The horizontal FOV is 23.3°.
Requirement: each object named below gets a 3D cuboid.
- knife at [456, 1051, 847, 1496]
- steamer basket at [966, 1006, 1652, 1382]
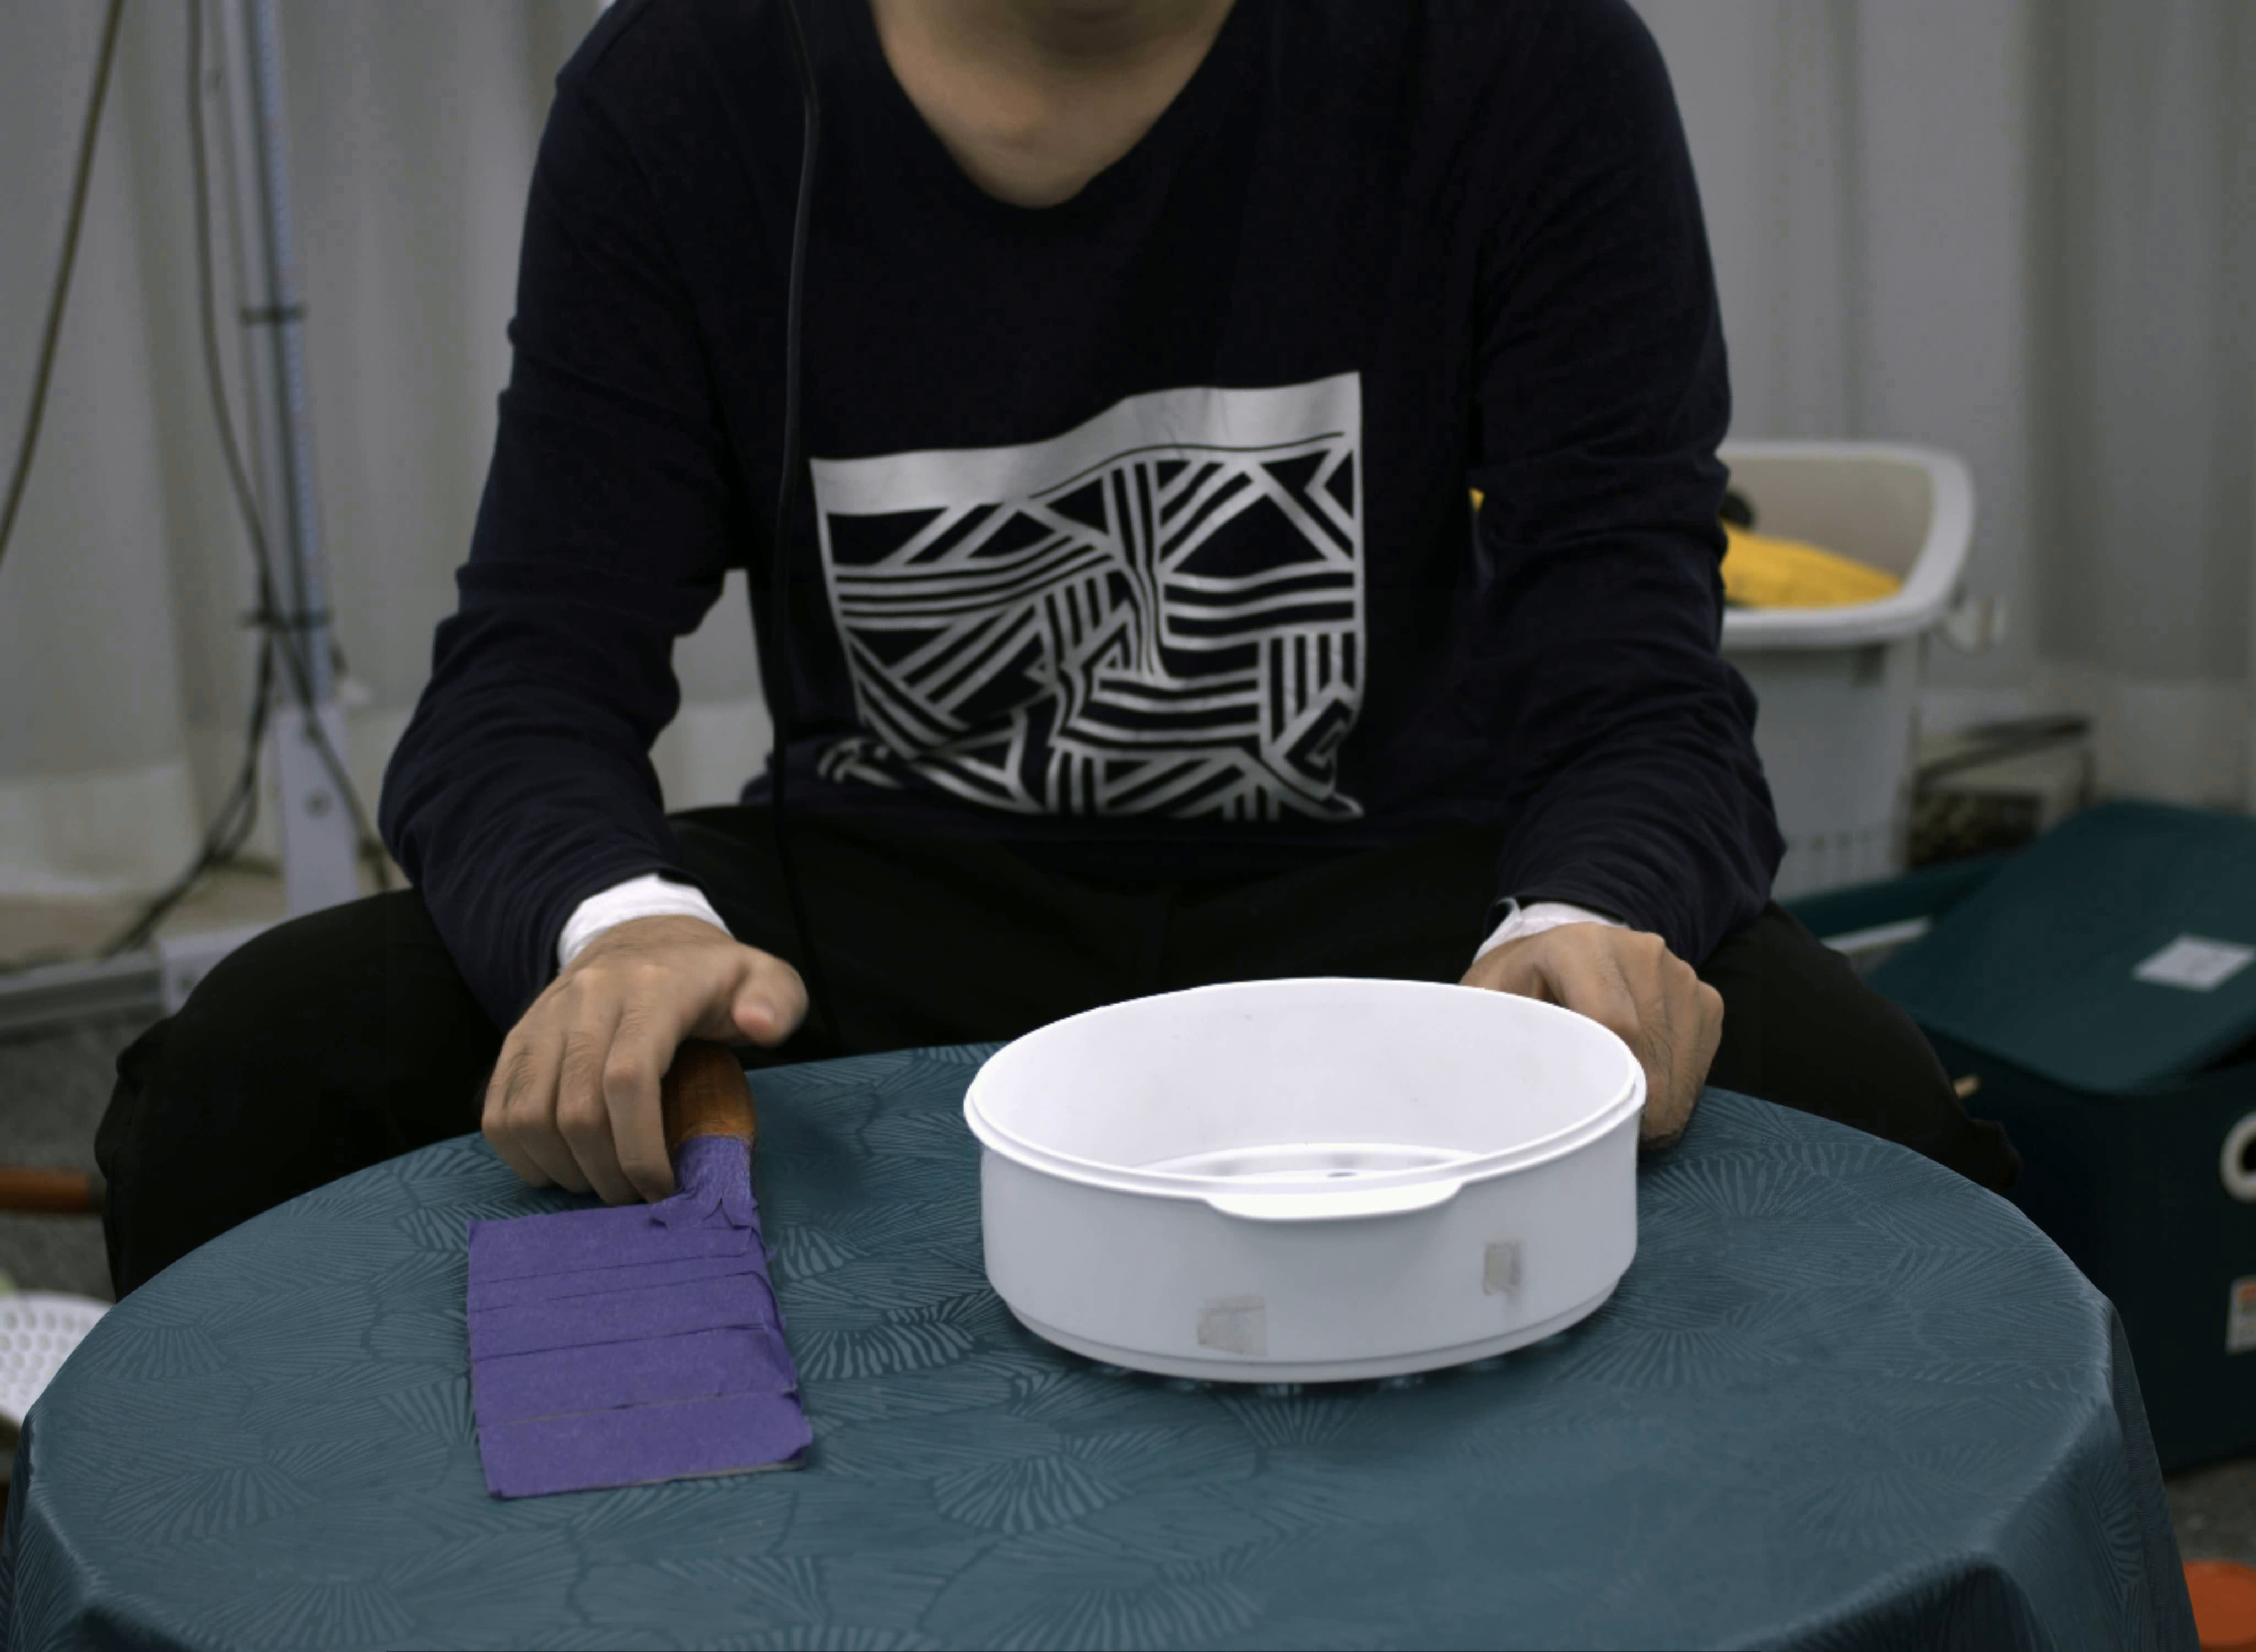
[{"bbox_3d":[-0.151,0.130,1.637,0.103,0.032,0.318,-5,15,-8],"label":"knife"},{"bbox_3d":[0.054,0.108,1.609,0.201,0.069,0.232,-2,12,-2],"label":"steamer basket"}]
